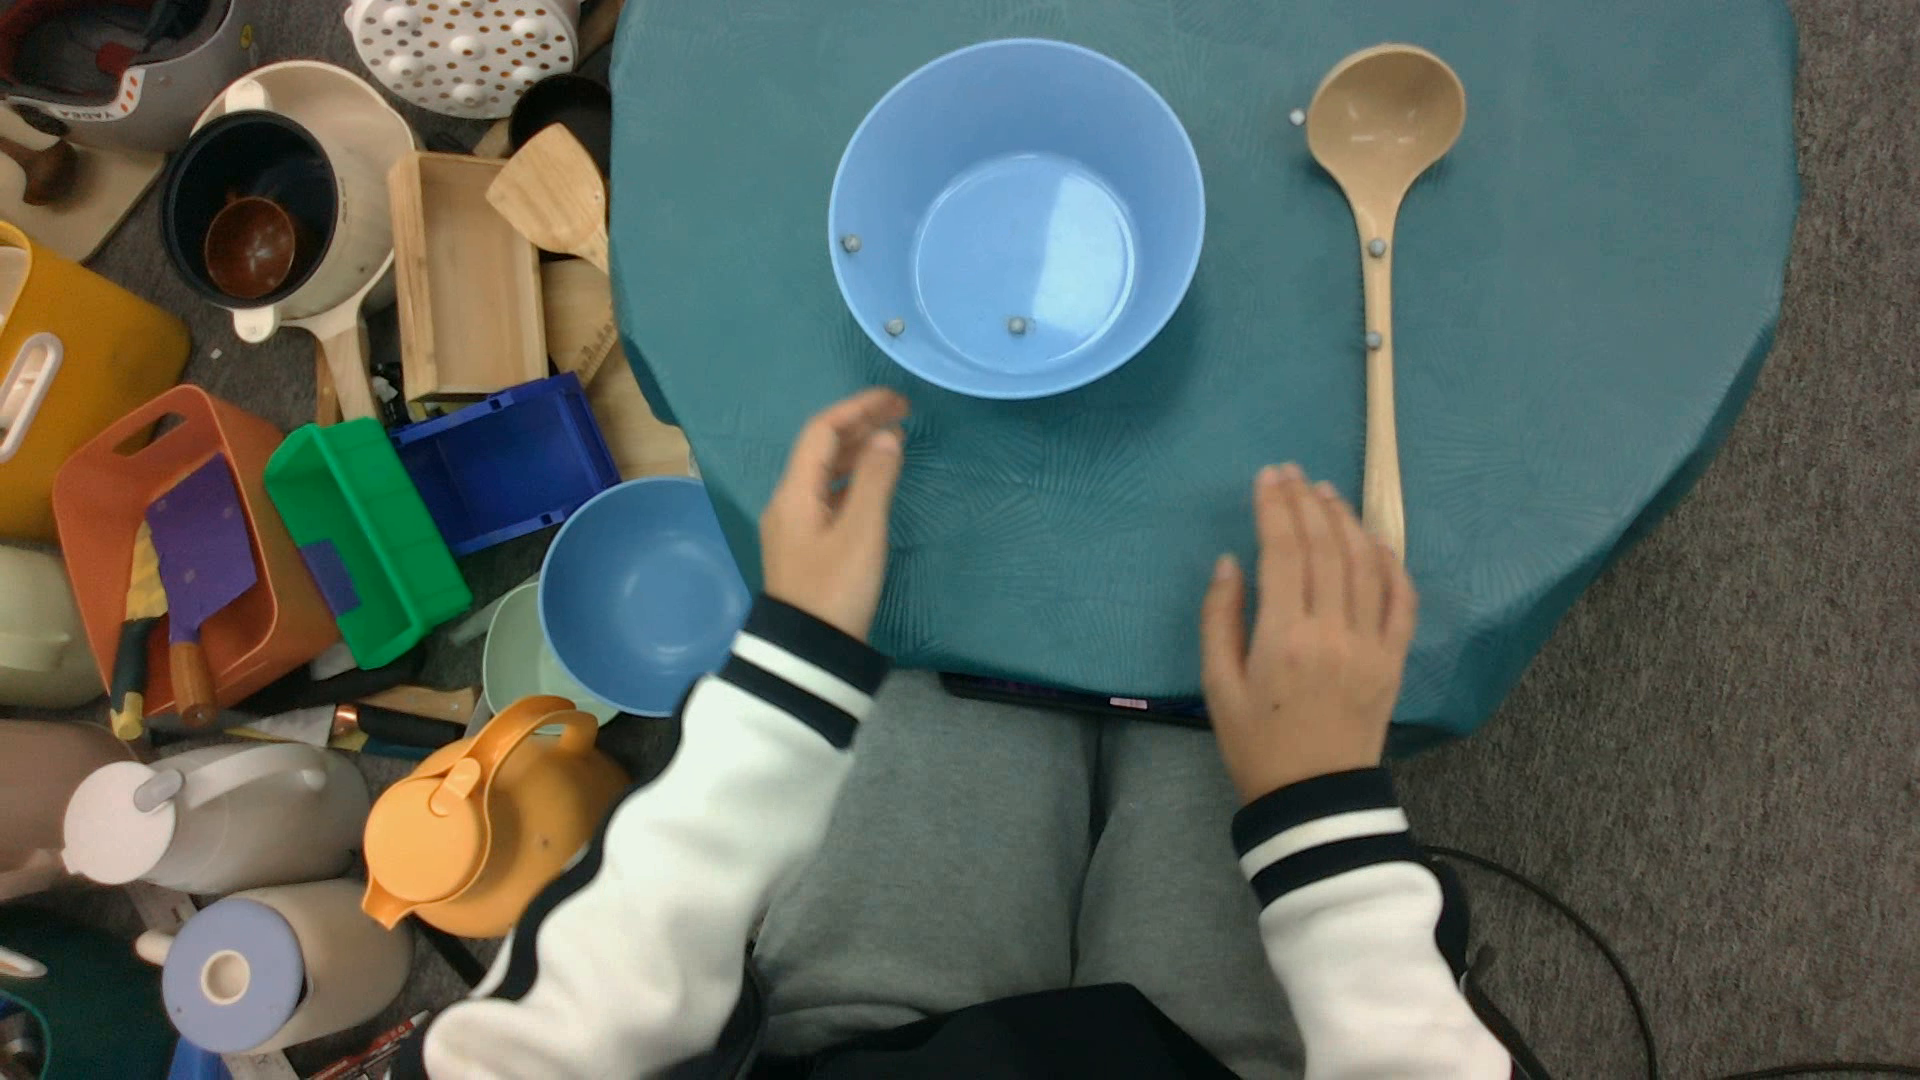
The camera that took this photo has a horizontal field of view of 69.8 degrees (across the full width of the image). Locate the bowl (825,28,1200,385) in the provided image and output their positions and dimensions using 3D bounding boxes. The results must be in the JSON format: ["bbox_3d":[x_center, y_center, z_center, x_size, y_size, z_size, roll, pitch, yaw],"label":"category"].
[{"bbox_3d":[0.027,-0.152,0.669,0.176,0.070,0.176,-1,80,8],"label":"bowl"}]

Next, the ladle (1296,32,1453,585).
[{"bbox_3d":[0.198,-0.110,0.640,0.072,0.073,0.255,-2,80,7],"label":"ladle"}]
